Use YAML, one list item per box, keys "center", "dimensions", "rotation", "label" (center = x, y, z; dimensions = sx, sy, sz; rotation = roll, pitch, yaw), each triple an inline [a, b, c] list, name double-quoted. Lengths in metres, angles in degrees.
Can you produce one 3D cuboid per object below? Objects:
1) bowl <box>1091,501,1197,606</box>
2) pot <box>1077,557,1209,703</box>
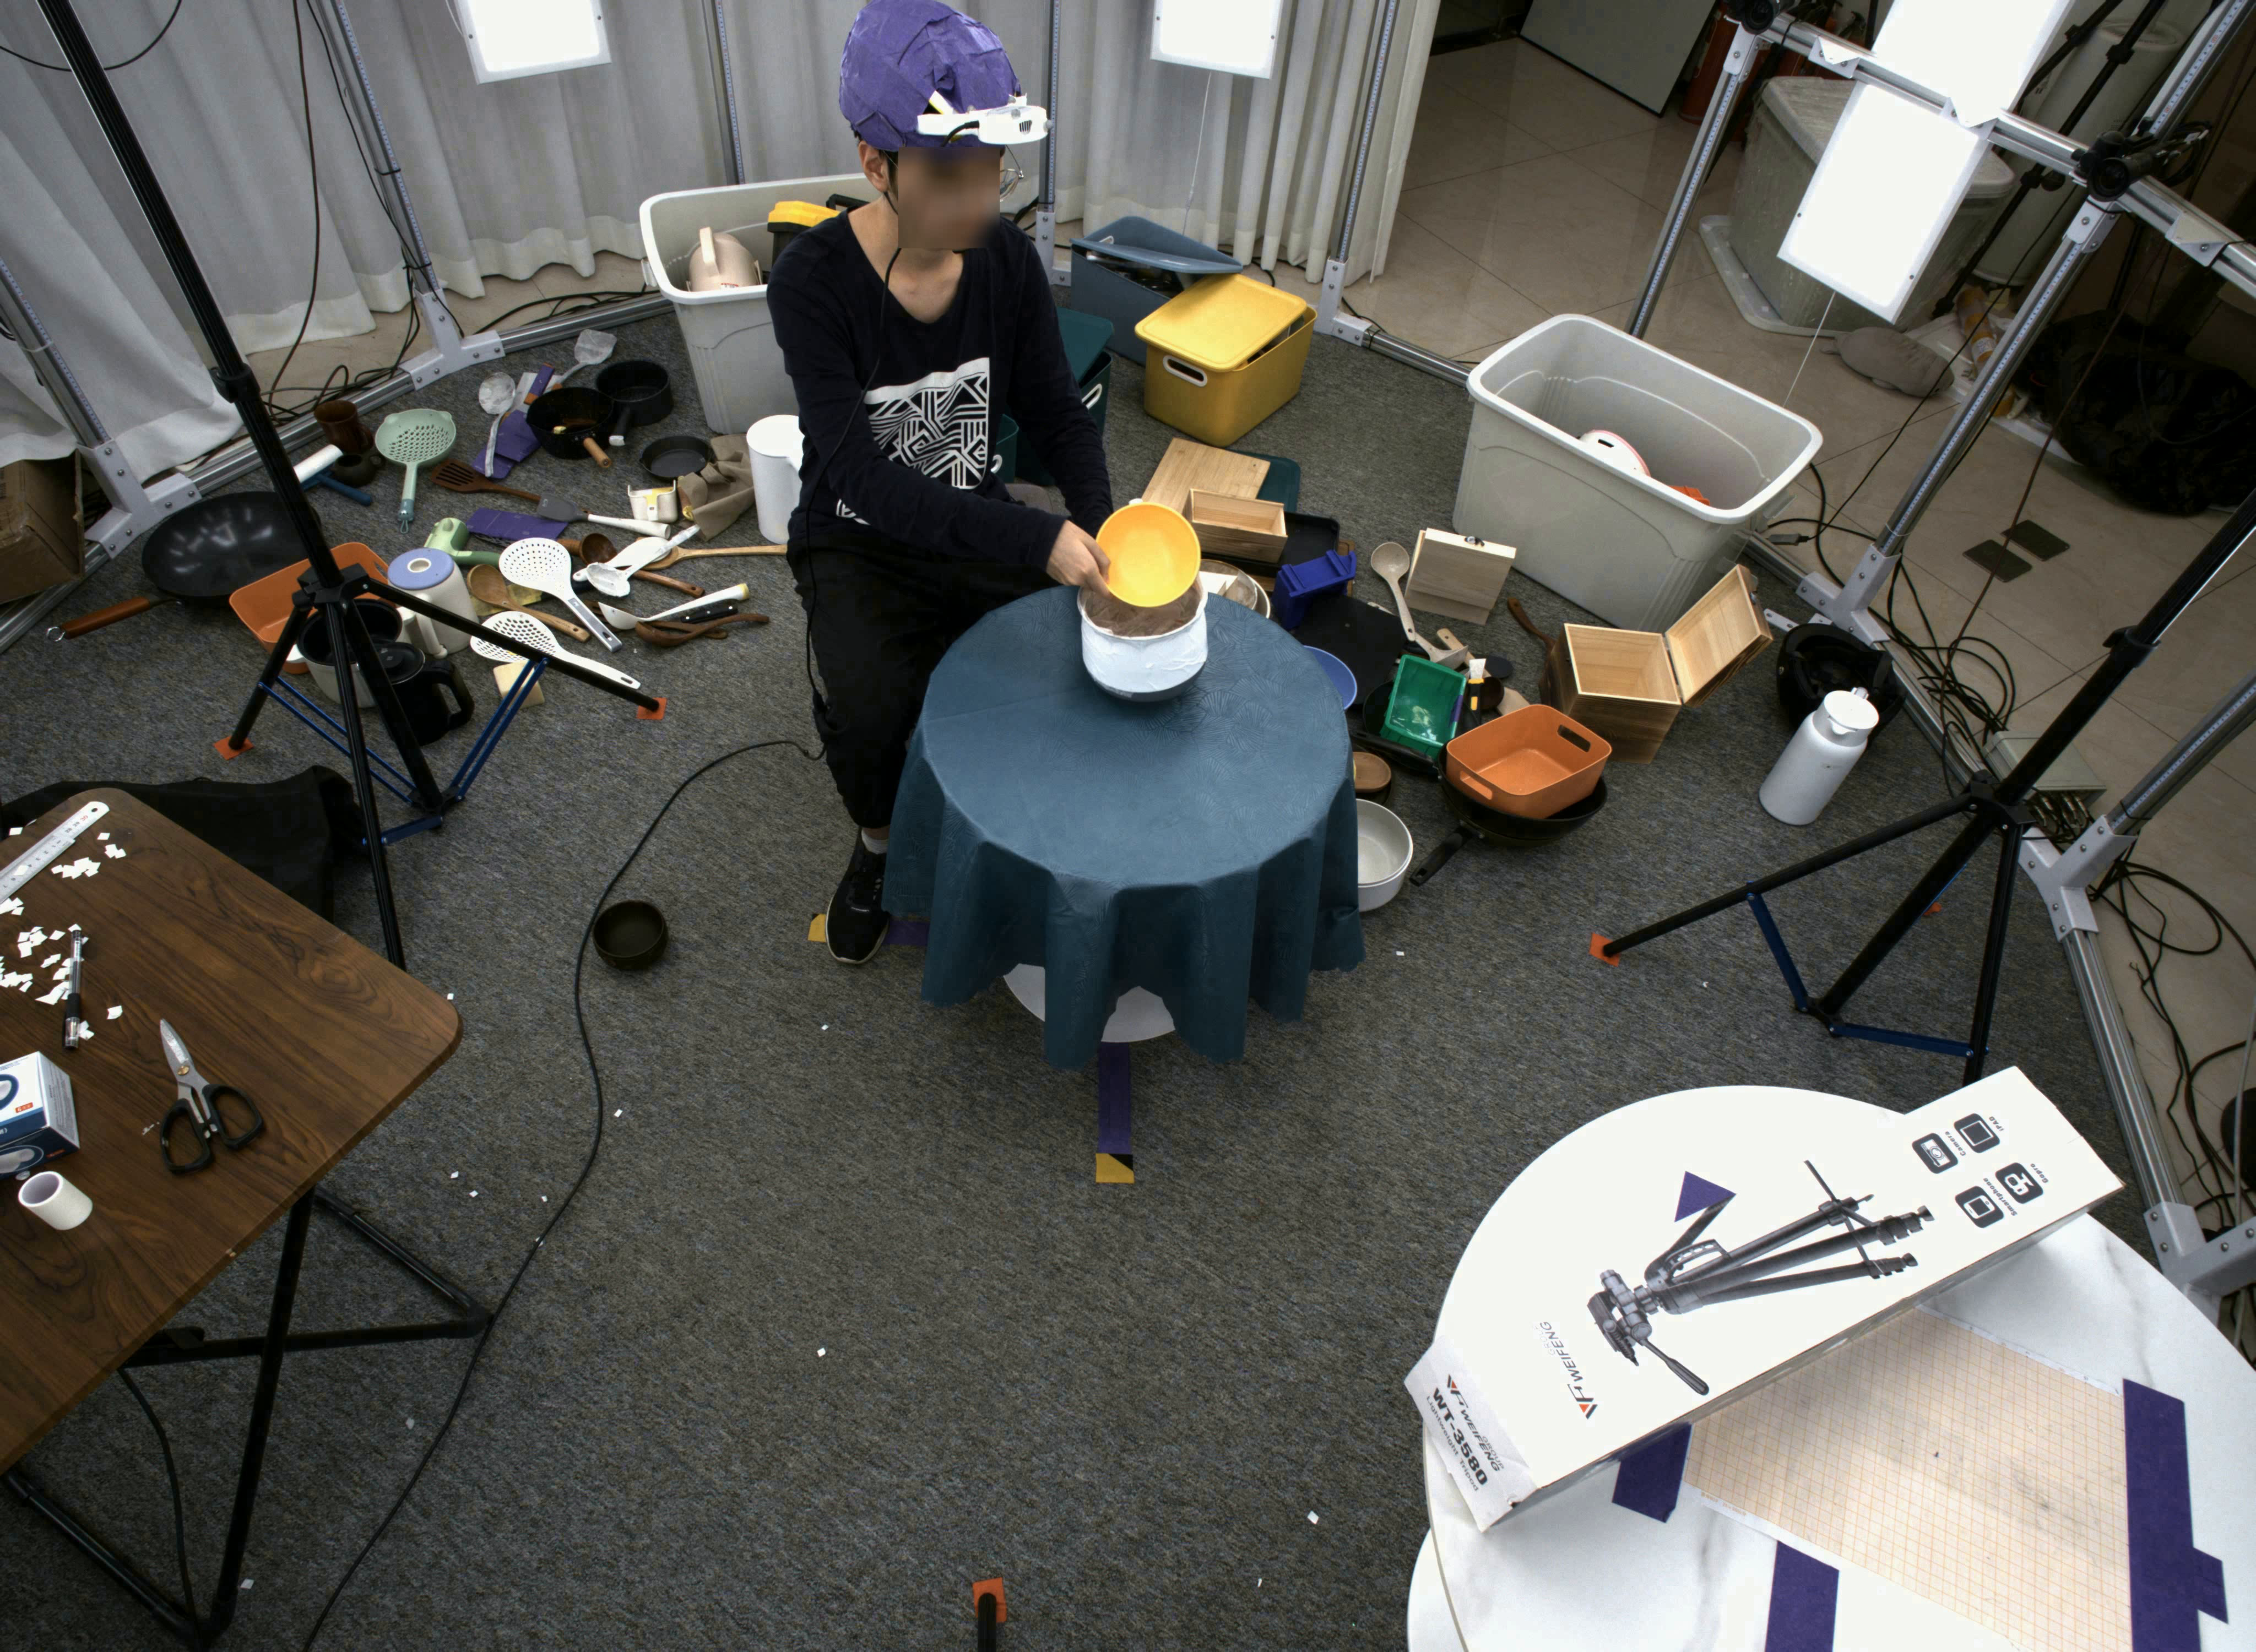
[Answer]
- center: [0.018, -0.365, 1.761]
  dimensions: [0.145, 0.060, 0.146]
  rotation: [1, 82, -7]
  label: "bowl"
- center: [0.013, -0.288, 1.808]
  dimensions: [0.179, 0.133, 0.239]
  rotation: [-18, 48, -11]
  label: "pot"
